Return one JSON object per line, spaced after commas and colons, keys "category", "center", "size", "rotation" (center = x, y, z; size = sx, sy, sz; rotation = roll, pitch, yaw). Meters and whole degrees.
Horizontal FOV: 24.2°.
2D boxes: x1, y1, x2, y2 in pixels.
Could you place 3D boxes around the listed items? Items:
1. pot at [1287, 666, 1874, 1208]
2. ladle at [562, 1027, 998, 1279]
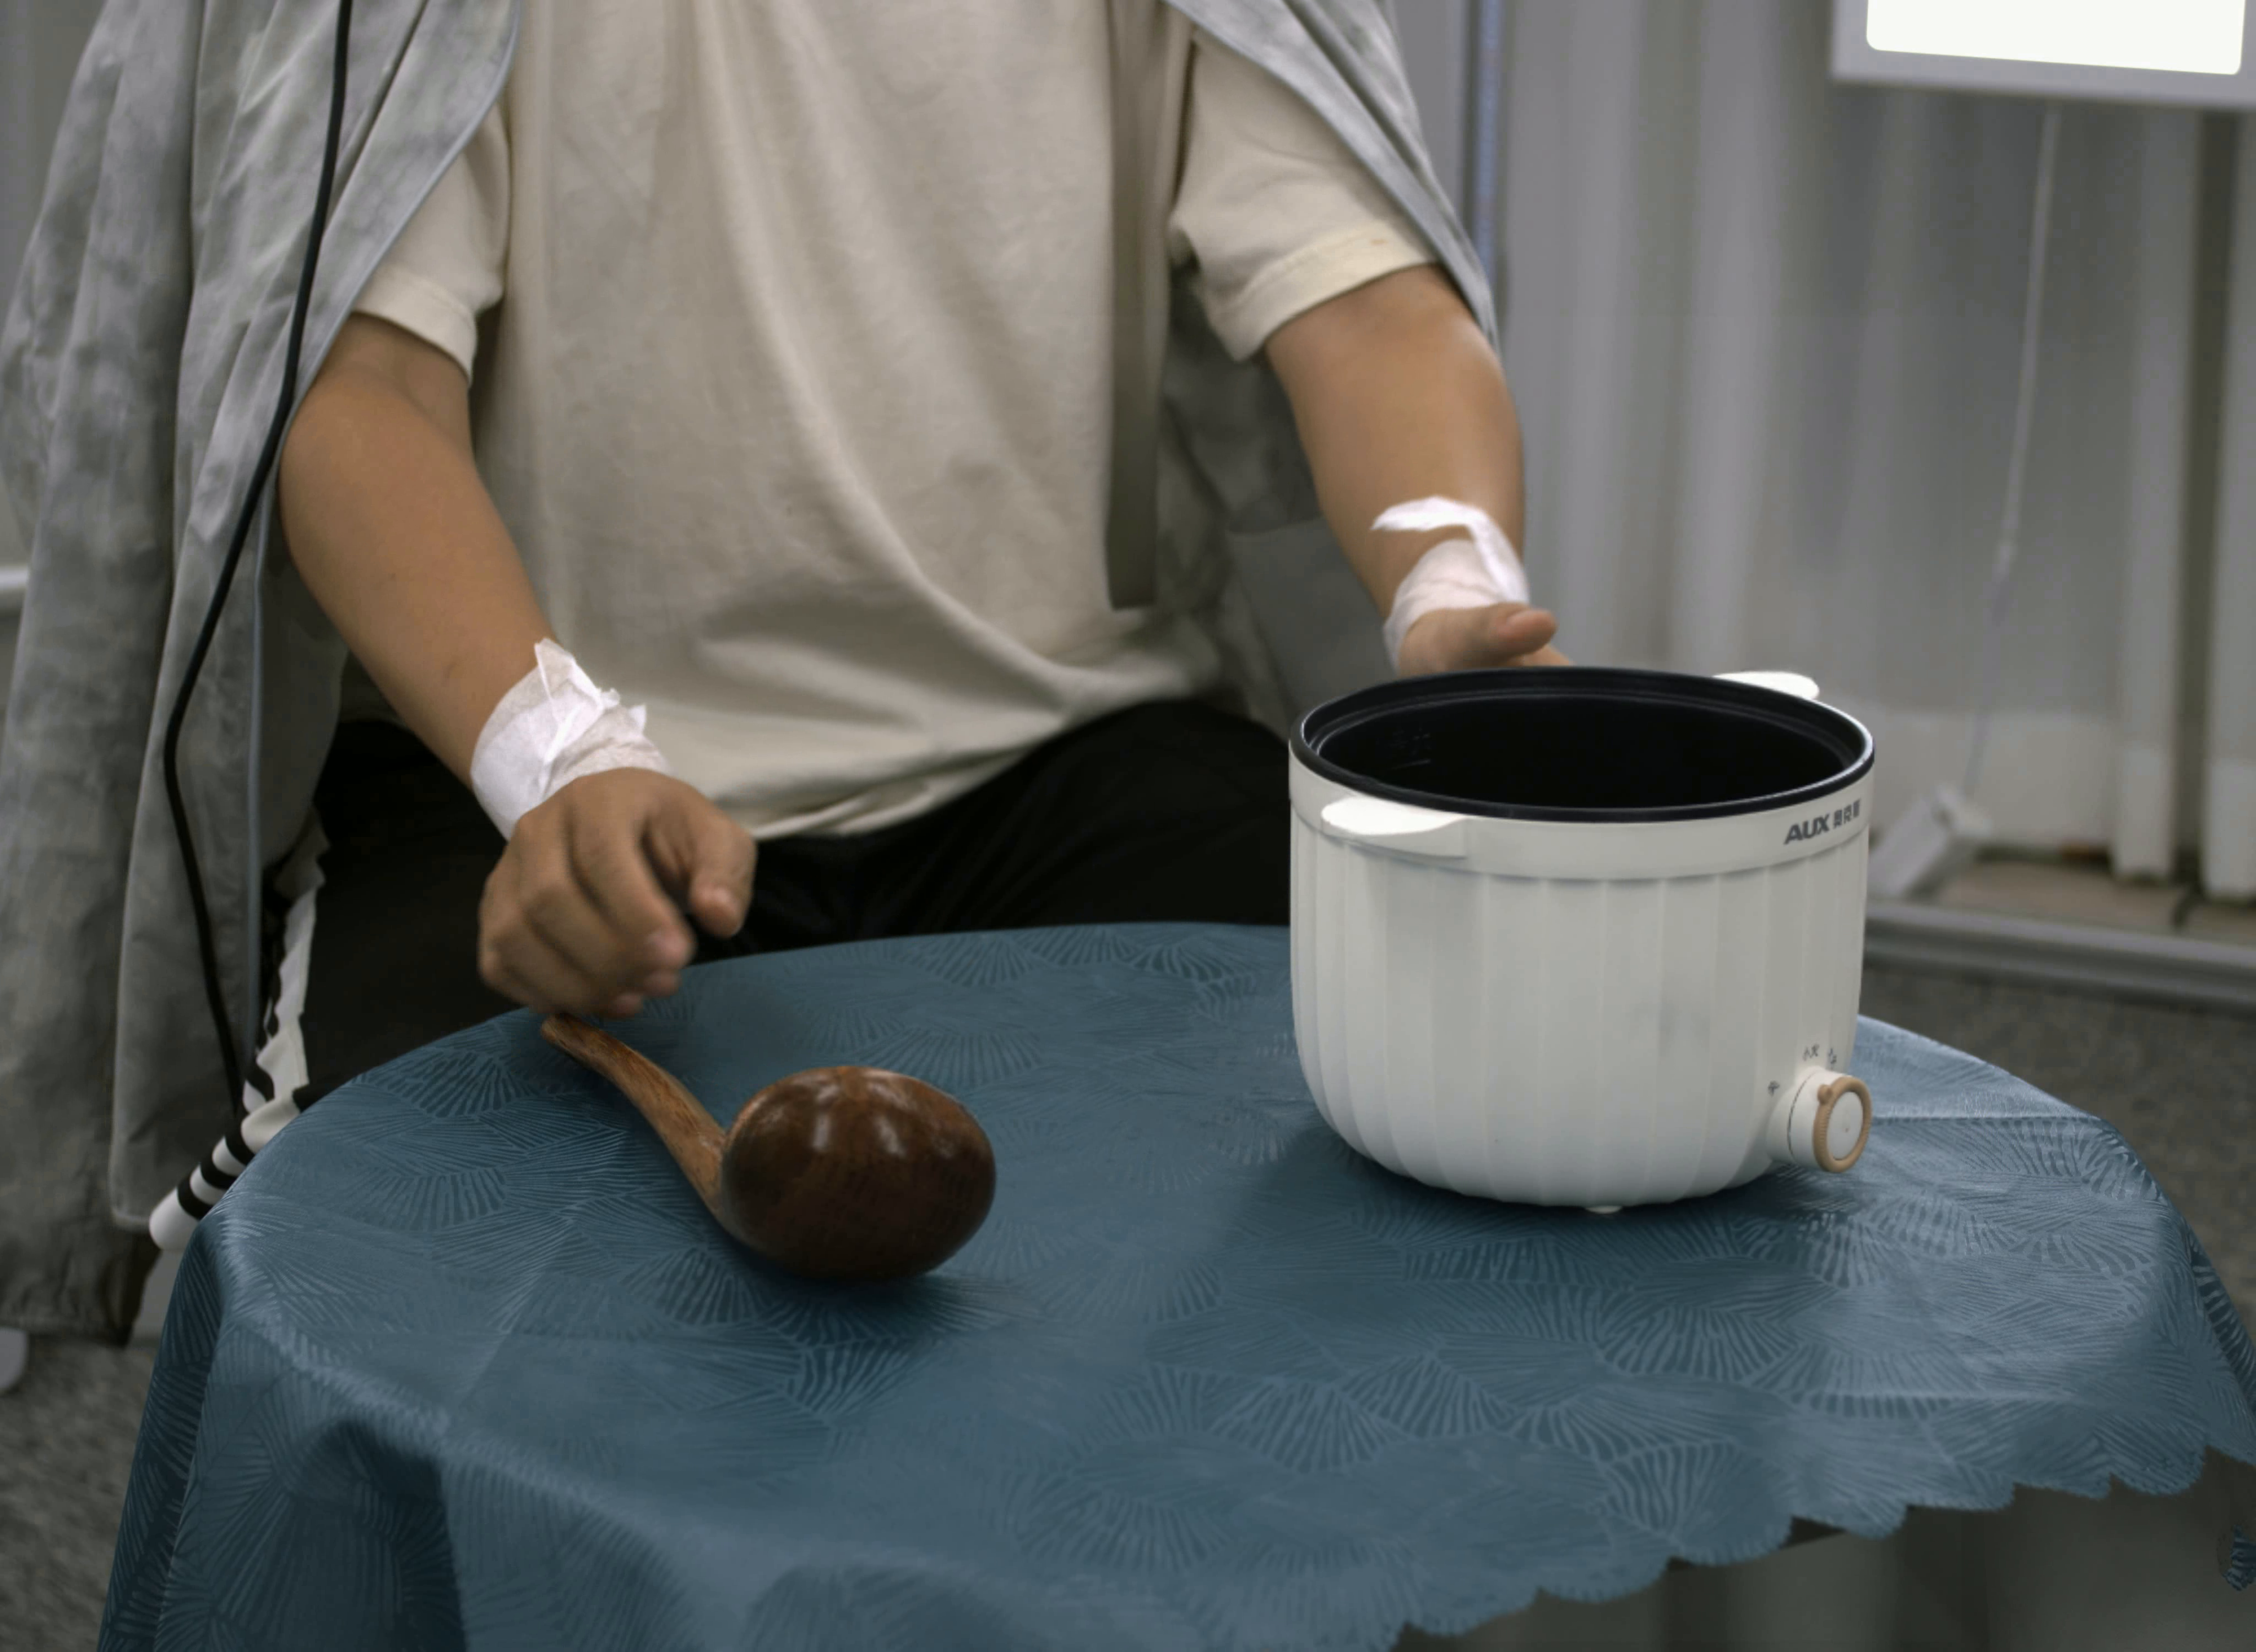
{"category": "pot", "center": [0.145, 0.036, 1.646], "size": [0.188, 0.144, 0.241], "rotation": [8, 18, 37]}
{"category": "ladle", "center": [-0.116, 0.077, 1.618], "size": [0.083, 0.076, 0.271], "rotation": [39, -2, -24]}
